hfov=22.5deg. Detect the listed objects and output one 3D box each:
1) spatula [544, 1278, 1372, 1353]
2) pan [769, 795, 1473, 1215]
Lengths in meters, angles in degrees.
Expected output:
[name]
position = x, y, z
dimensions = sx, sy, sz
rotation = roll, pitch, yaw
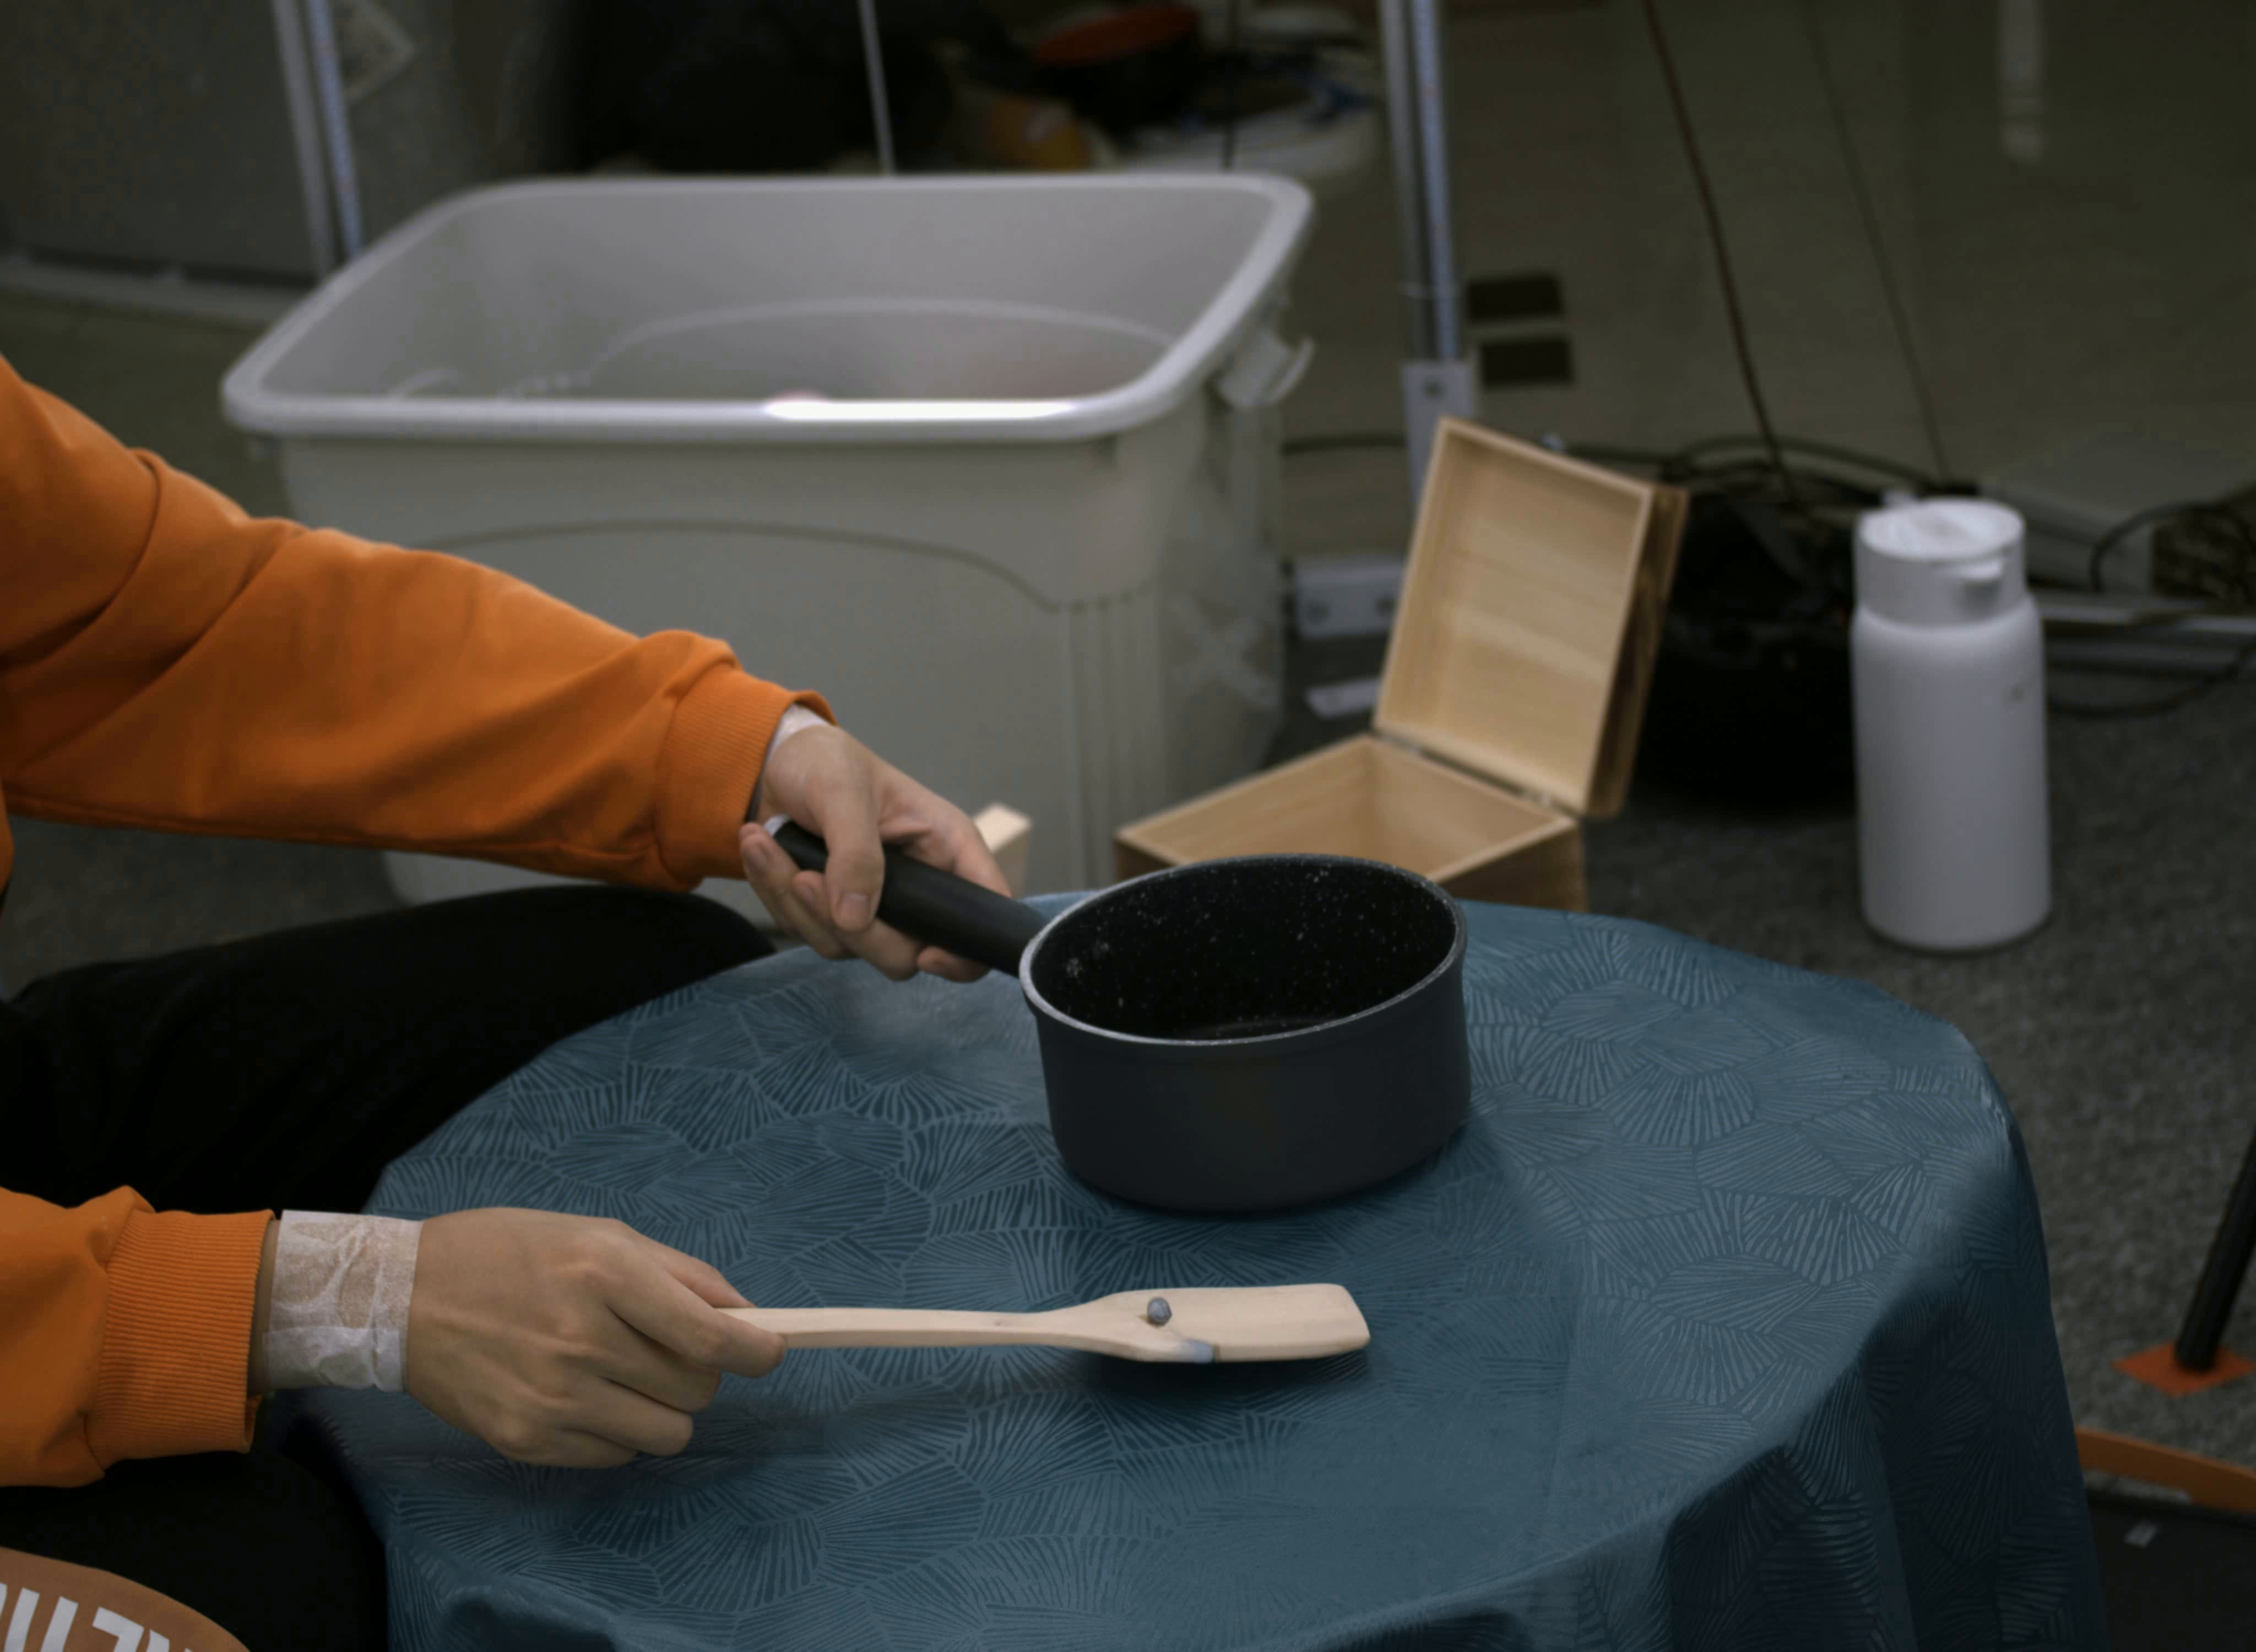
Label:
[spatula]
position = -0.060, 0.175, 2.015
dimensions = 0.292, 0.011, 0.071
rotation = 0, 12, -7
[pan]
position = -0.013, 0.062, 2.215
dimensions = 0.326, 0.088, 0.170
rotation = 15, 32, 38
